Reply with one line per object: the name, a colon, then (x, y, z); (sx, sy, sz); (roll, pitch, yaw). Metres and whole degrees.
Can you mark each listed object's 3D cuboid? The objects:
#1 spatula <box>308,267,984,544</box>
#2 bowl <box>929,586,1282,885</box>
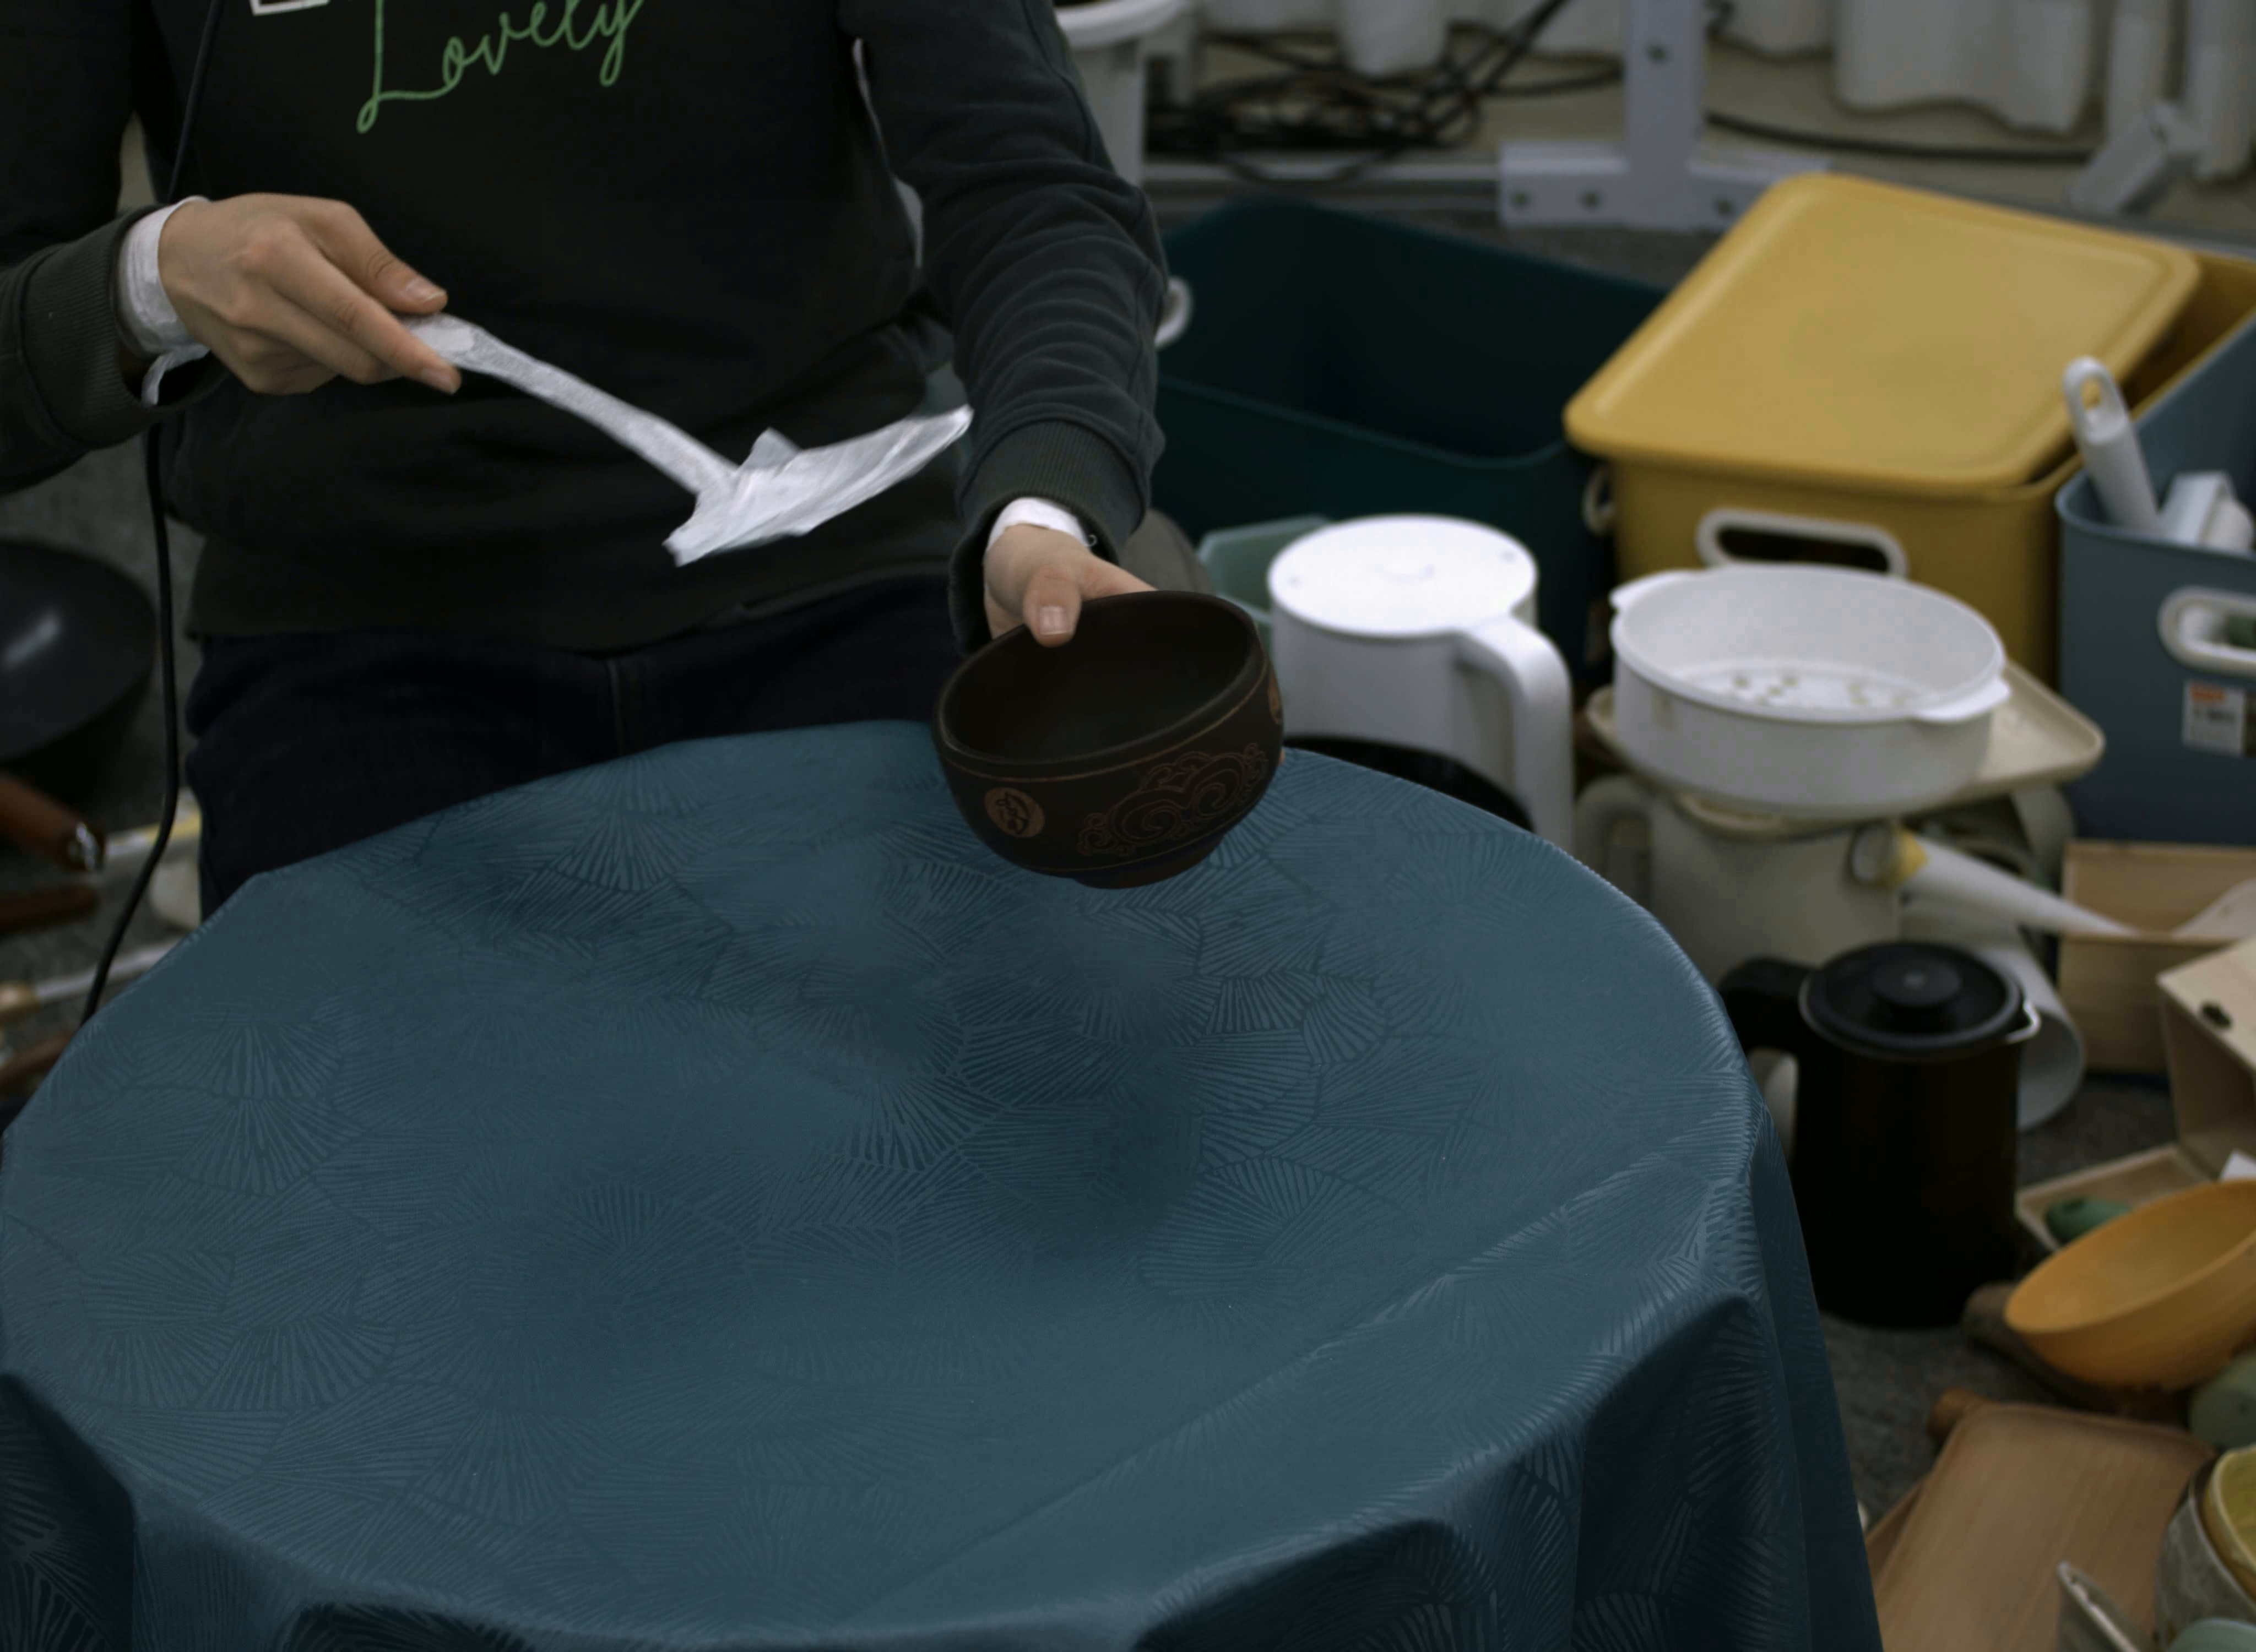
spatula: (-0.188, -0.157, 1.949); (0.100, 0.044, 0.364); (-35, 40, -29)
bowl: (-0.004, -0.024, 1.902); (0.117, 0.069, 0.120); (-12, 27, 6)
